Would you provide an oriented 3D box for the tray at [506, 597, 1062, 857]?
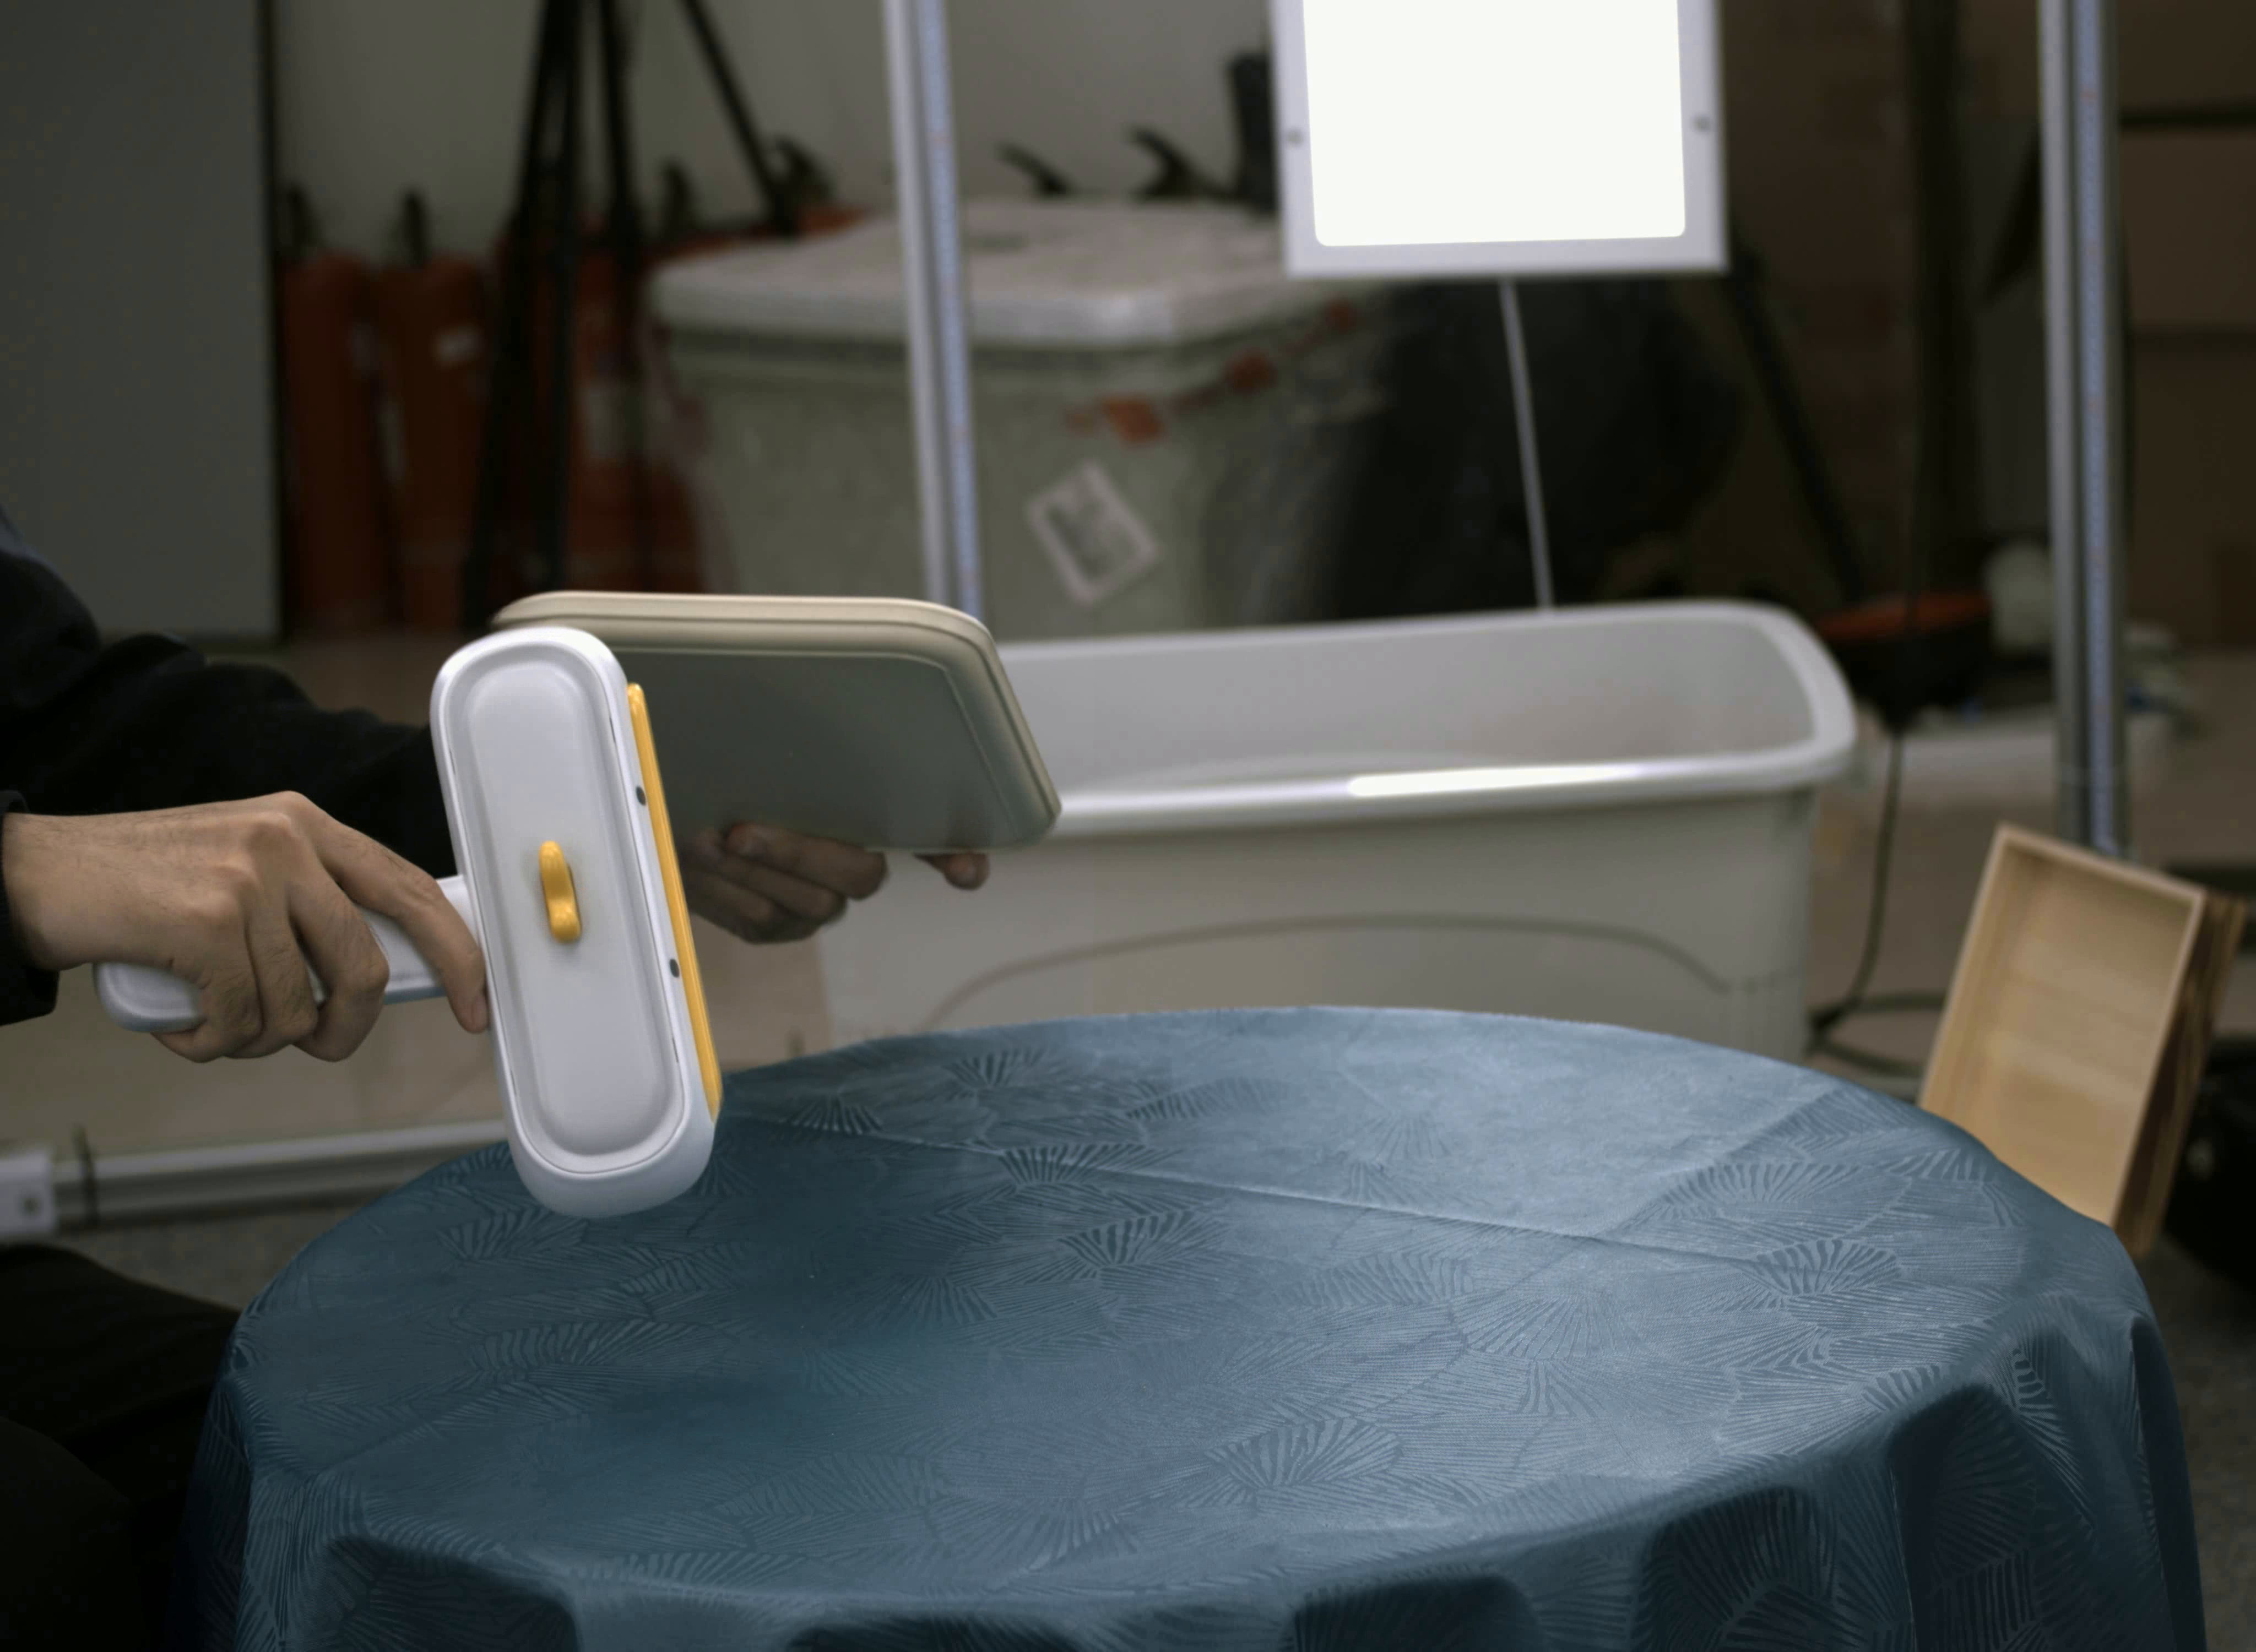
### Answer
[{"bbox_3d":[-0.119,-0.031,1.961,0.172,0.017,0.238,0,-19,9],"label":"tray"}]

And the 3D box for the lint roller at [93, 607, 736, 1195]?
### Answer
[{"bbox_3d":[-0.234,0.036,1.756,0.190,0.193,0.075,-14,-7,-10],"label":"lint roller"}]
